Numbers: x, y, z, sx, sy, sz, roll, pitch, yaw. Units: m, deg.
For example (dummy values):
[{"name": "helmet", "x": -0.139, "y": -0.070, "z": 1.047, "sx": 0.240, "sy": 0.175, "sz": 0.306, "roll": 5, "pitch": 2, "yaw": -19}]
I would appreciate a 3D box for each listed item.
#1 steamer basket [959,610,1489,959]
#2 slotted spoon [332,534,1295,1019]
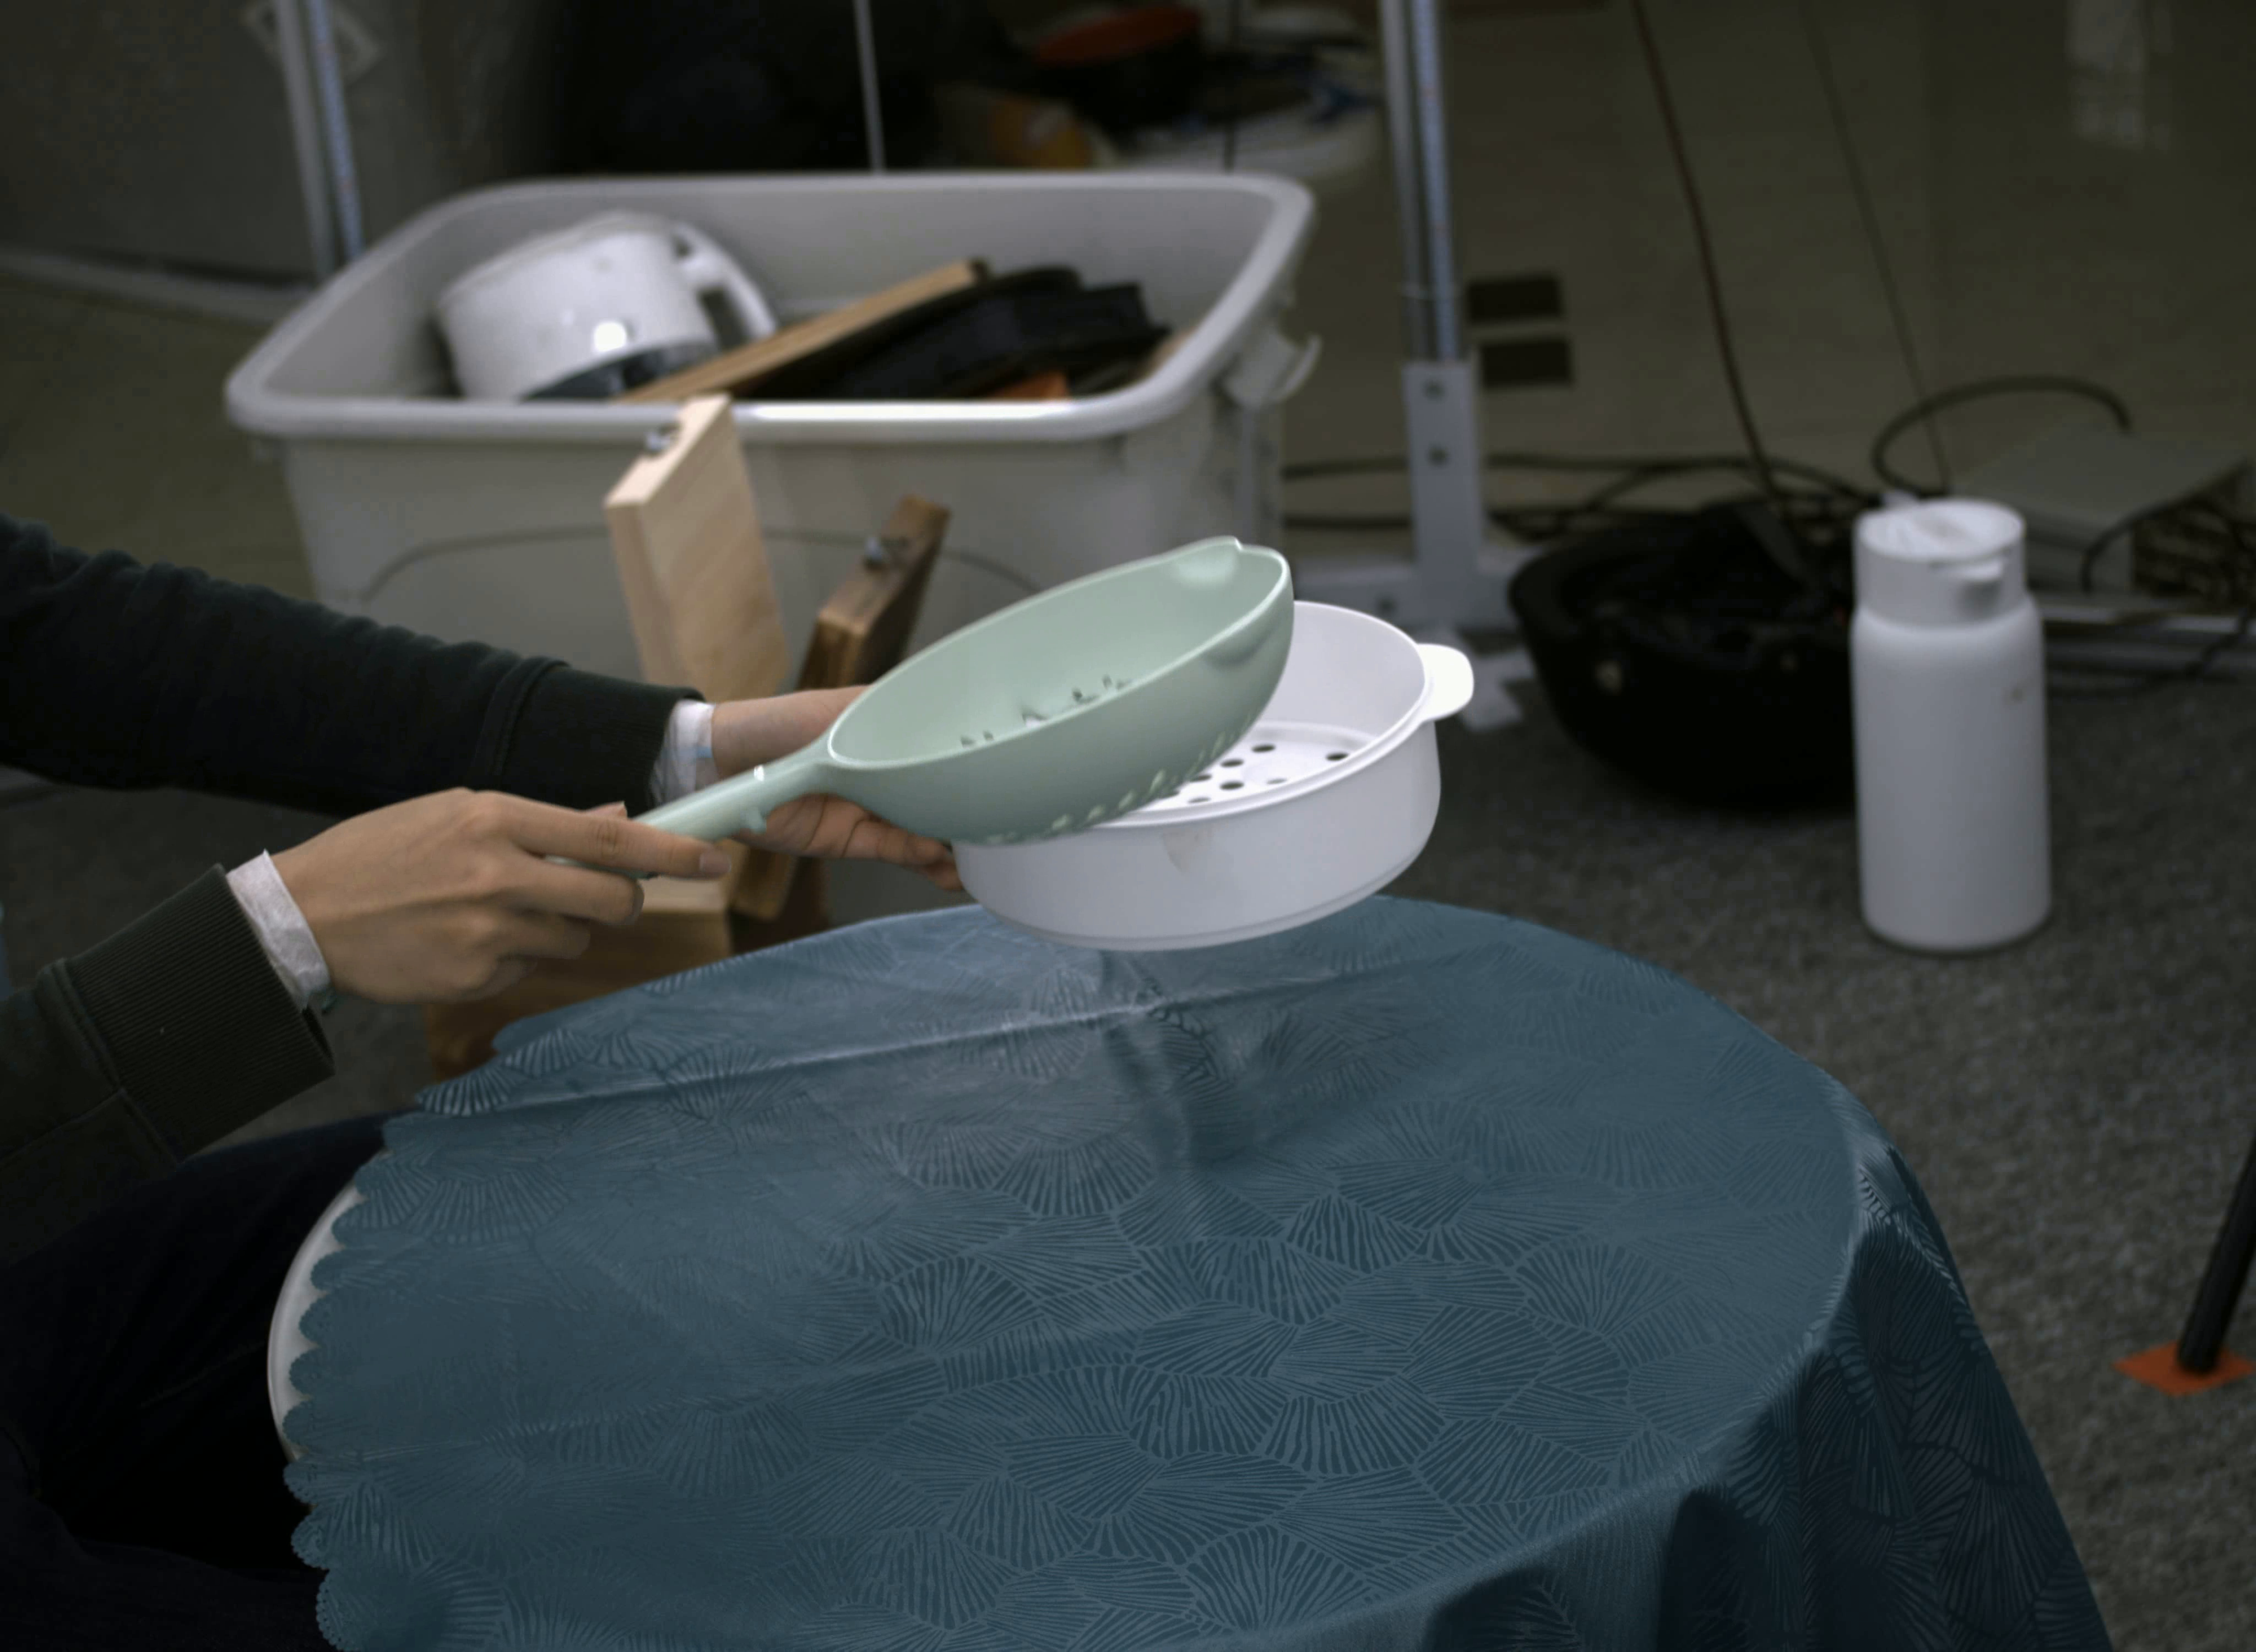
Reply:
[{"name": "steamer basket", "x": 0.030, "y": -0.016, "z": 2.218, "sx": 0.230, "sy": 0.070, "sz": 0.199, "roll": -8, "pitch": 24, "yaw": 3}, {"name": "slotted spoon", "x": -0.110, "y": -0.013, "z": 1.946, "sx": 0.358, "sy": 0.076, "sz": 0.167, "roll": -14, "pitch": 16, "yaw": 0}]
